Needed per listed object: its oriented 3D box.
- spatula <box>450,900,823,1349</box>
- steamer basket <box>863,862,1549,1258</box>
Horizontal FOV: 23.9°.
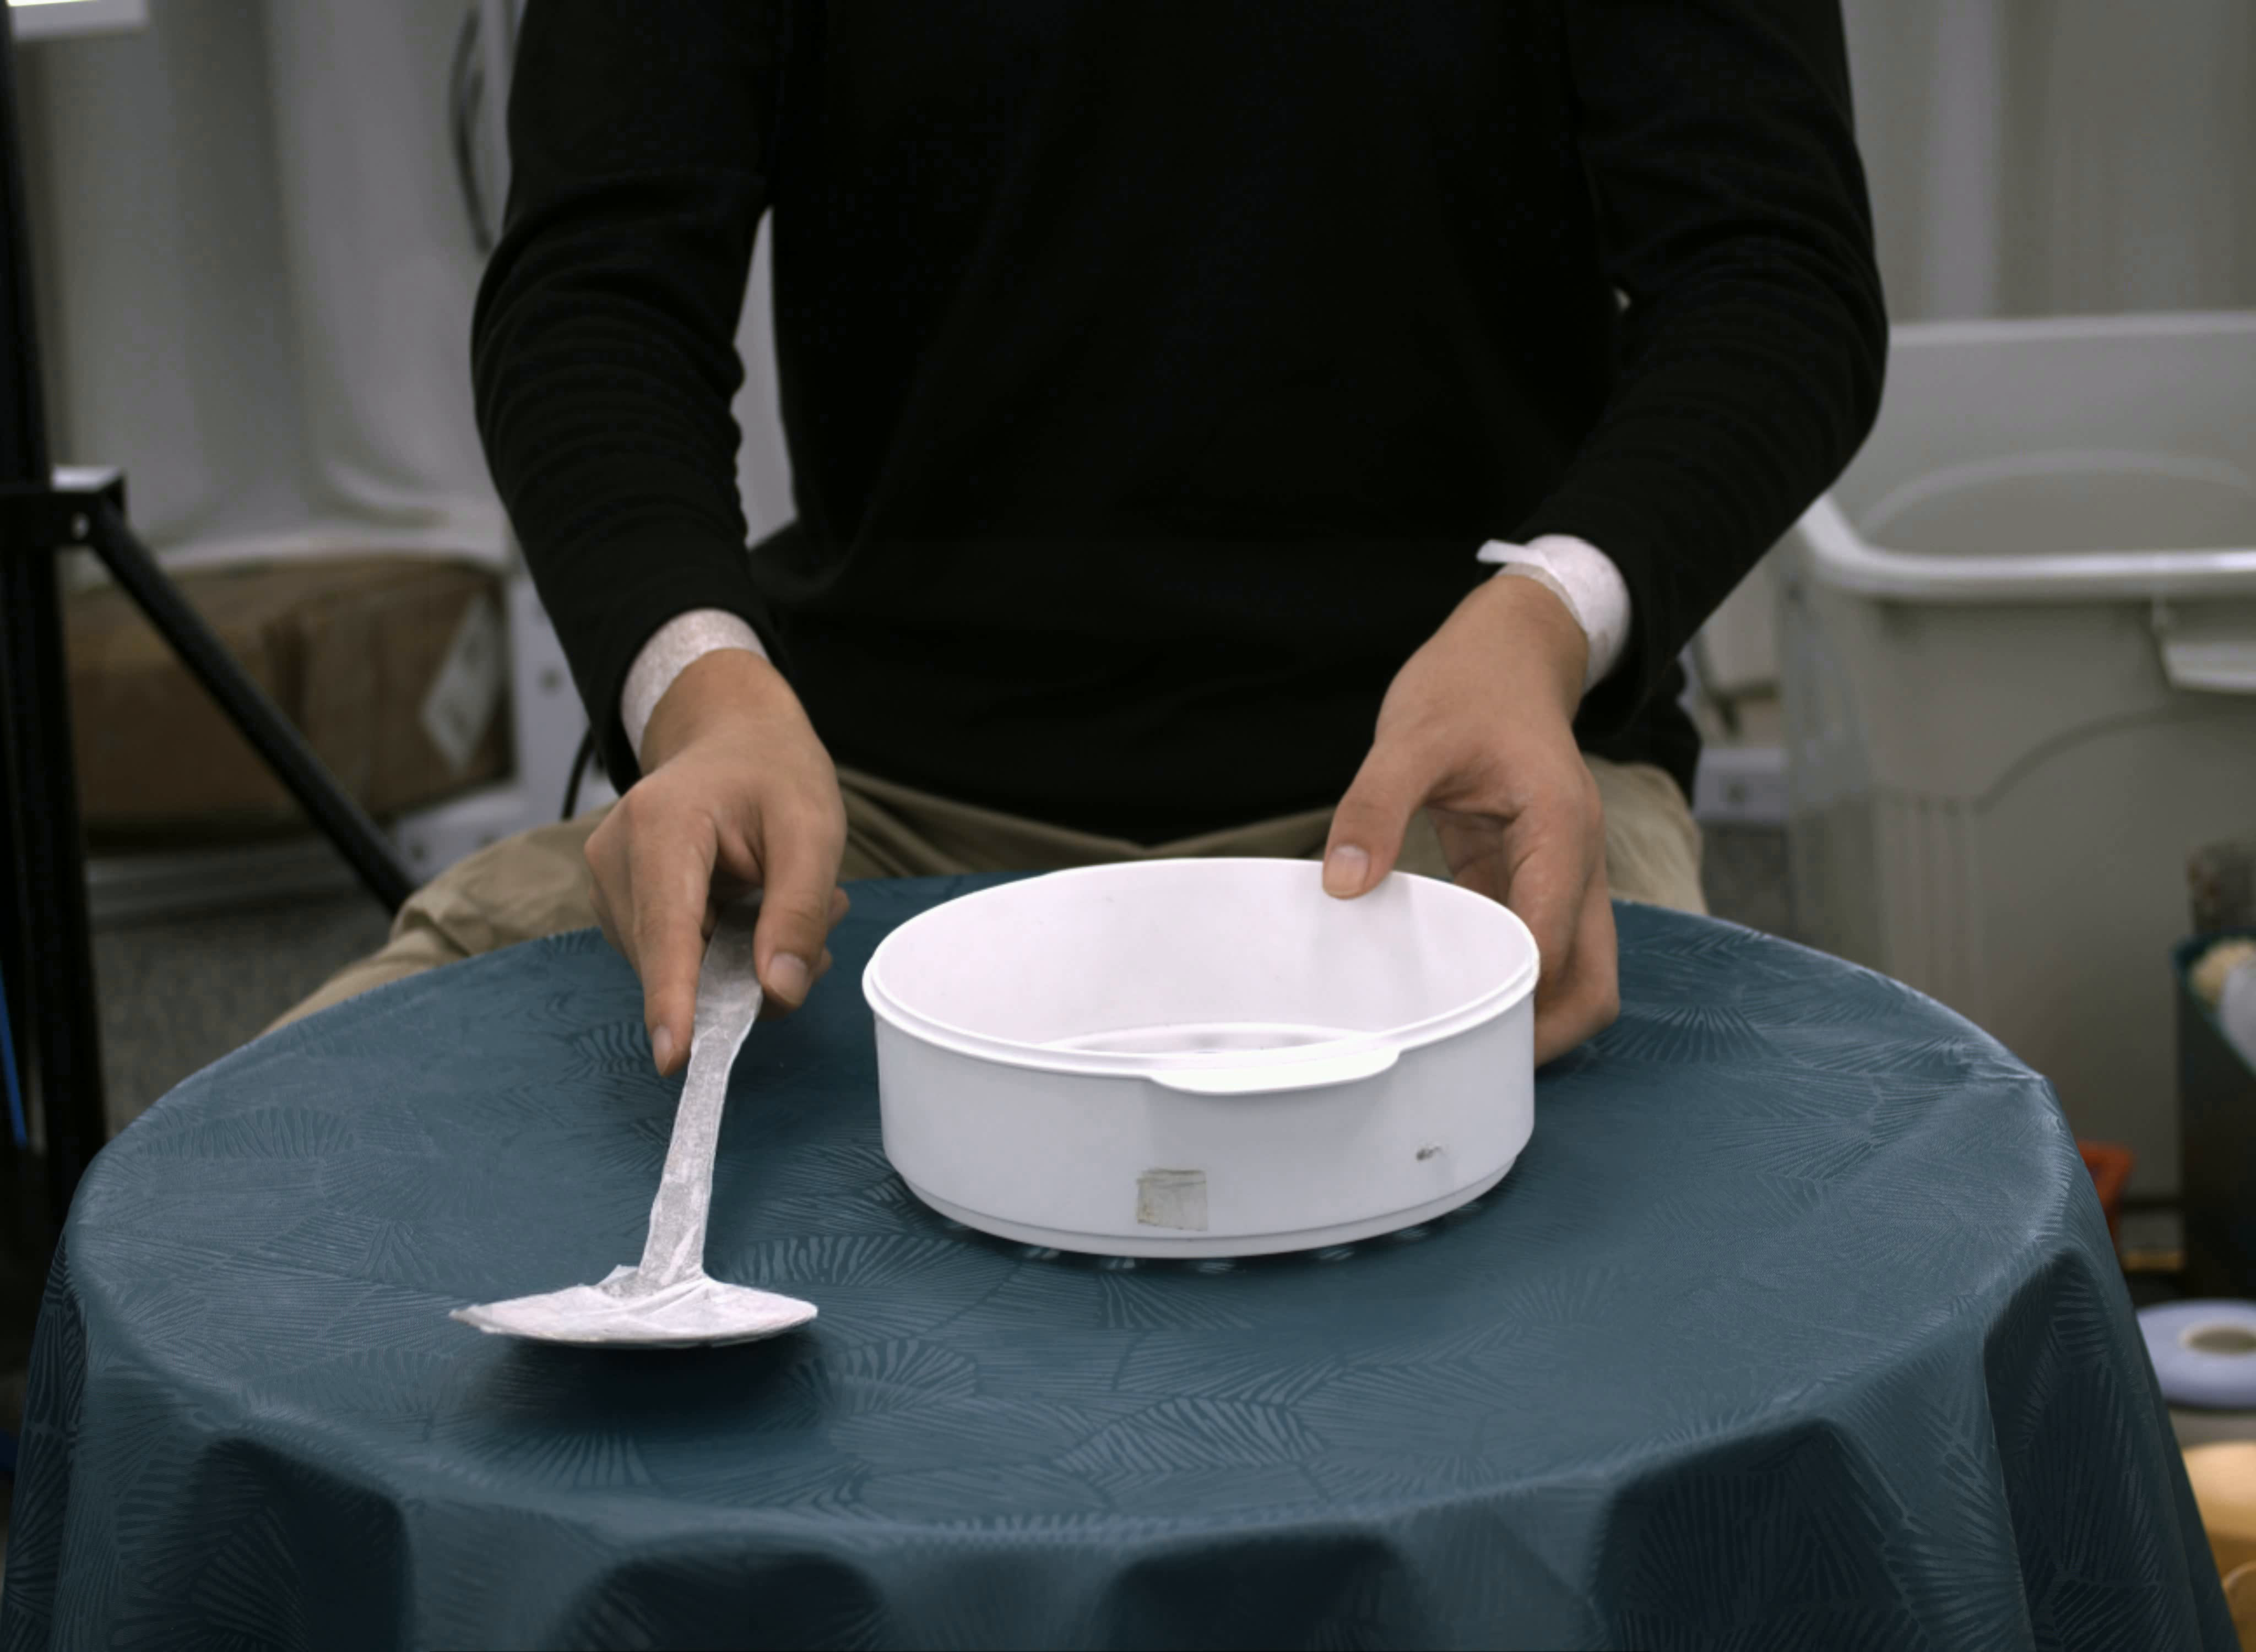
[{"bbox_3d":[-0.122,0.079,1.560,0.098,0.044,0.366,-3,23,5],"label":"spatula"},{"bbox_3d":[0.024,0.068,1.563,0.199,0.069,0.233,-5,15,-9],"label":"steamer basket"}]
